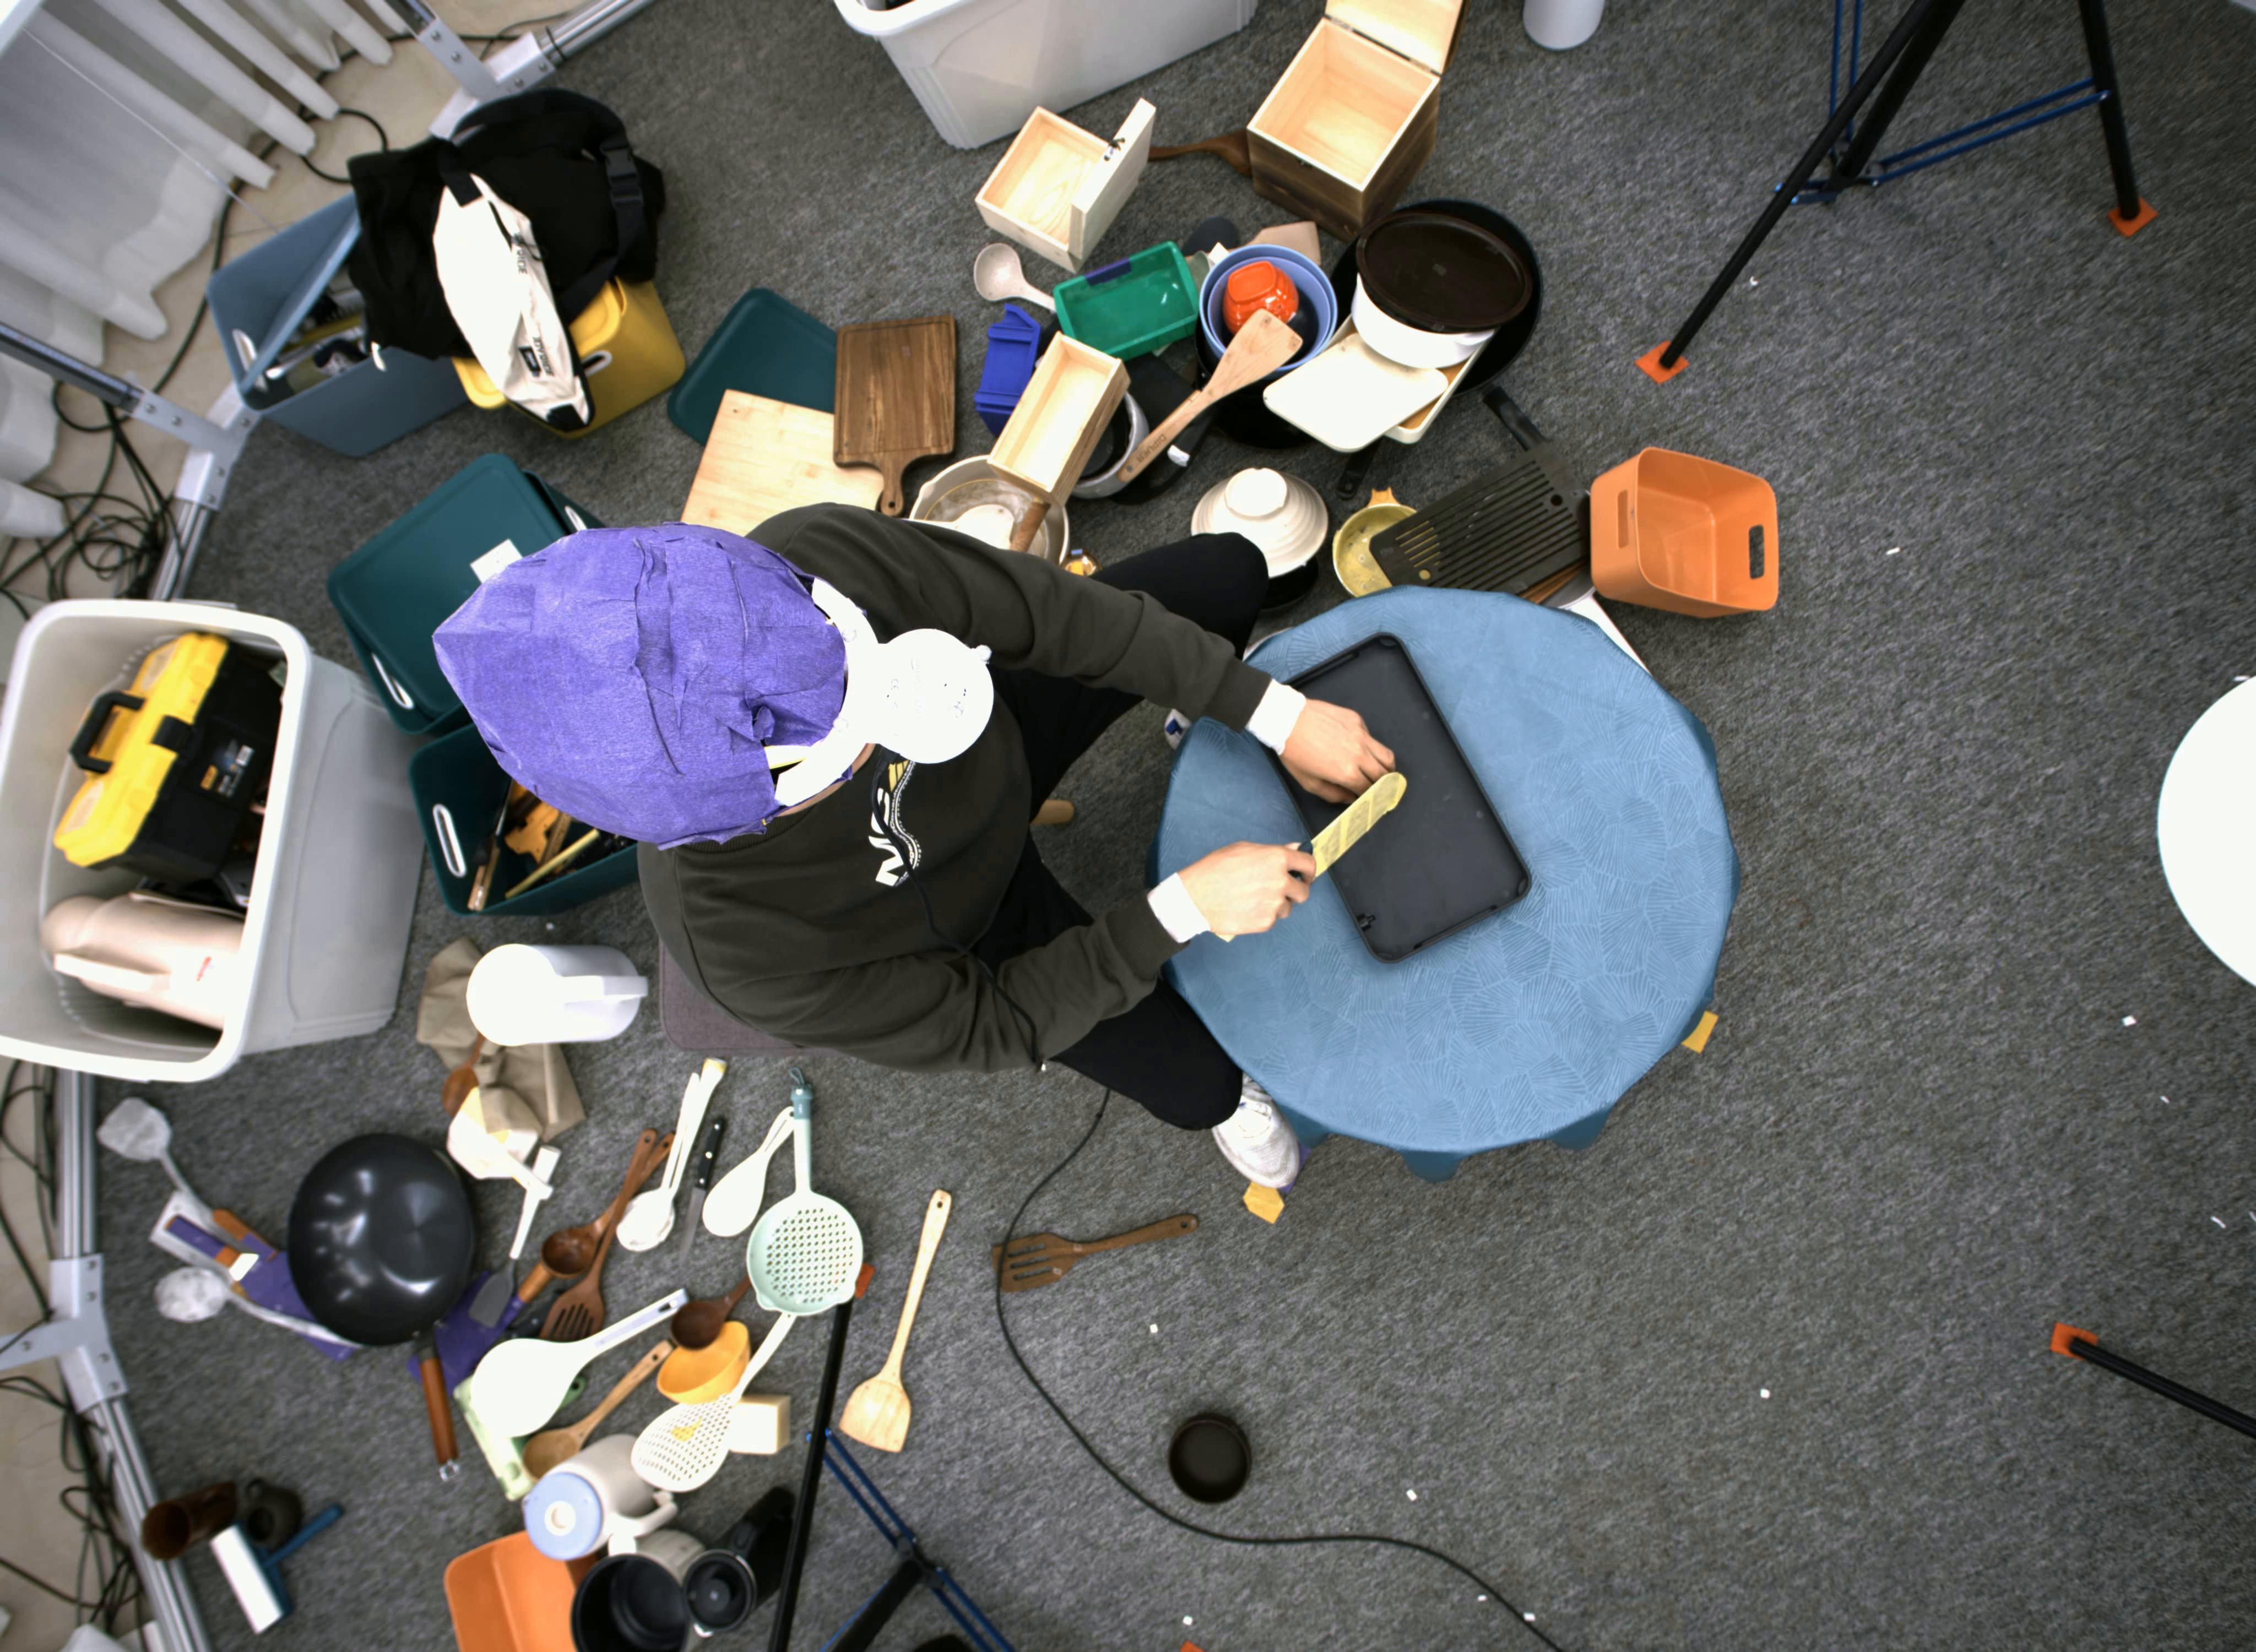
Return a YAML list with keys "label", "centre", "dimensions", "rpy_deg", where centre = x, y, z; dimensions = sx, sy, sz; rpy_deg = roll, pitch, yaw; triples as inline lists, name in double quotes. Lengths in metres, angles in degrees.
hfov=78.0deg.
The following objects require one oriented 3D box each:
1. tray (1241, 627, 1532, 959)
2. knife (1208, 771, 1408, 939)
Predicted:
- label: "tray"
  centre: [0.269, -0.036, 1.447]
  dimensions: [0.185, 0.037, 0.316]
  rpy_deg: [-30, 82, 8]
- label: "knife"
  centre: [0.187, 0.029, 1.386]
  dimensions: [0.285, 0.083, 0.027]
  rpy_deg: [-37, 56, -22]
